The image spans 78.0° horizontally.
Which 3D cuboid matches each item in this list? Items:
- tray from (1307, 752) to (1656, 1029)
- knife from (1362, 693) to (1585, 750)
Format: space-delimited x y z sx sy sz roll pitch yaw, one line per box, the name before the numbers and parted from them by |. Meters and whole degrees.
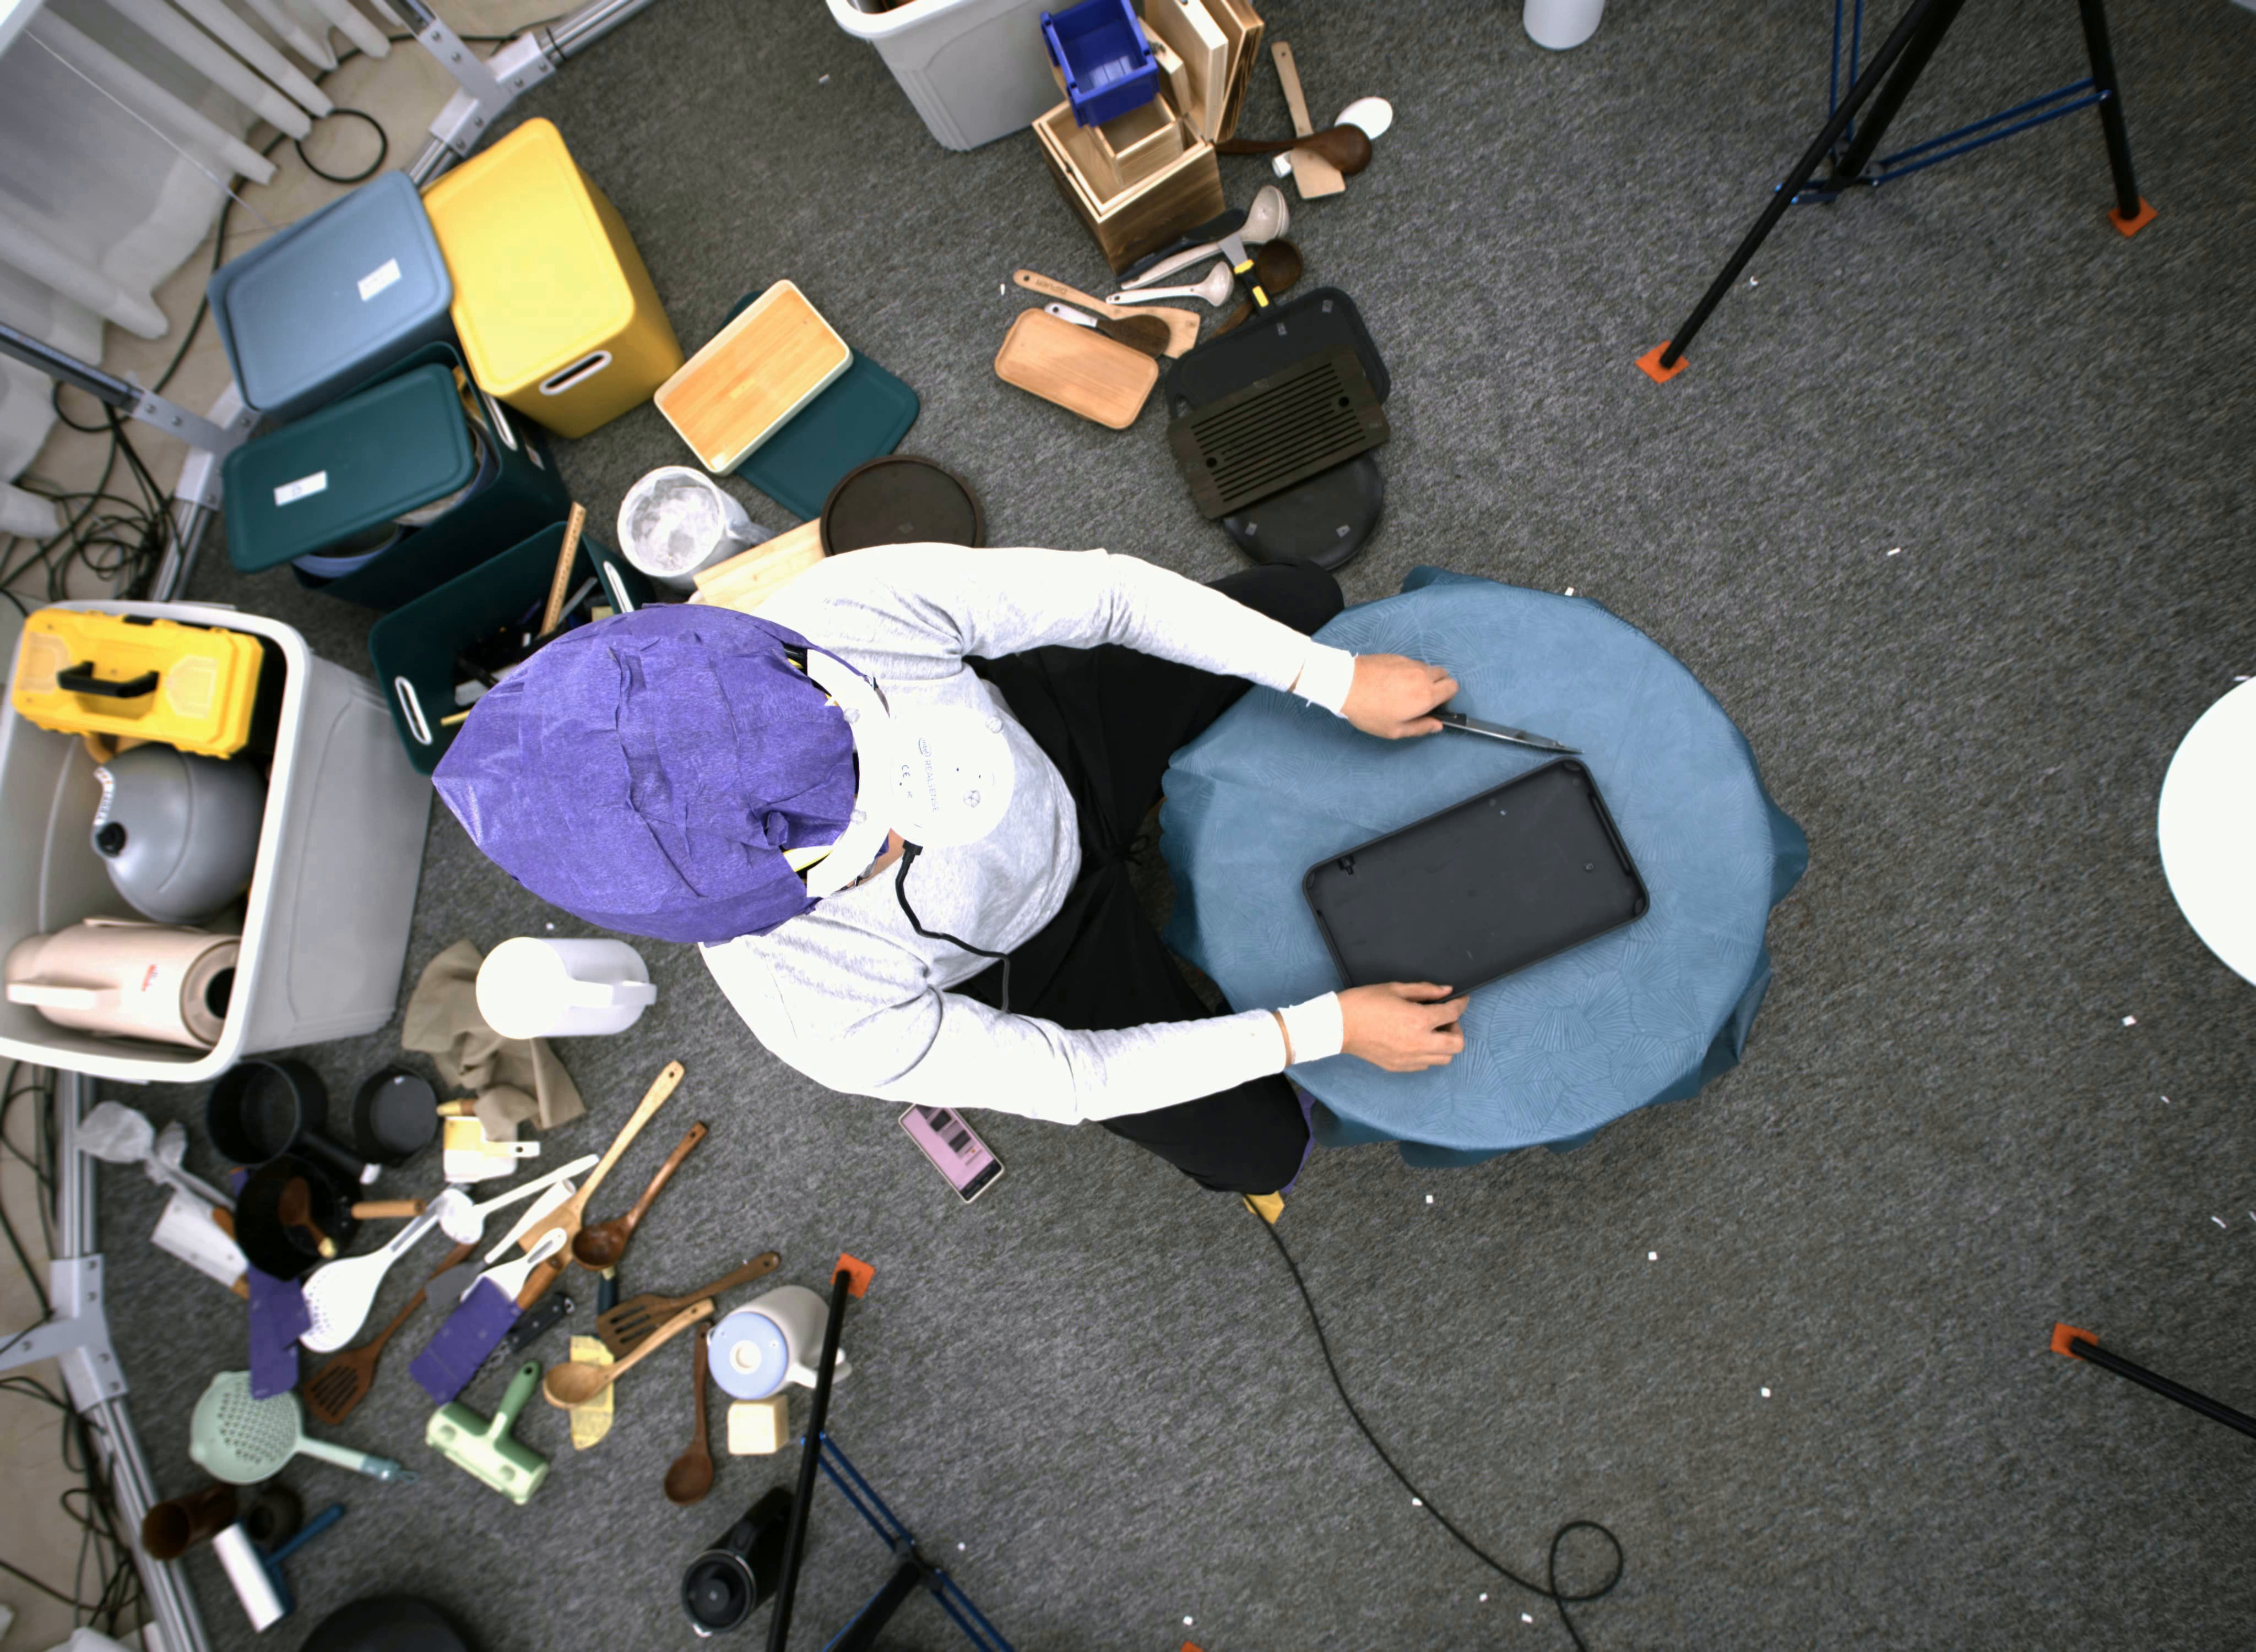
tray | 0.362 0.066 1.425 0.320 0.037 0.183 -26 82 9
knife | 0.362 -0.108 1.440 0.238 0.017 0.024 13 48 6
